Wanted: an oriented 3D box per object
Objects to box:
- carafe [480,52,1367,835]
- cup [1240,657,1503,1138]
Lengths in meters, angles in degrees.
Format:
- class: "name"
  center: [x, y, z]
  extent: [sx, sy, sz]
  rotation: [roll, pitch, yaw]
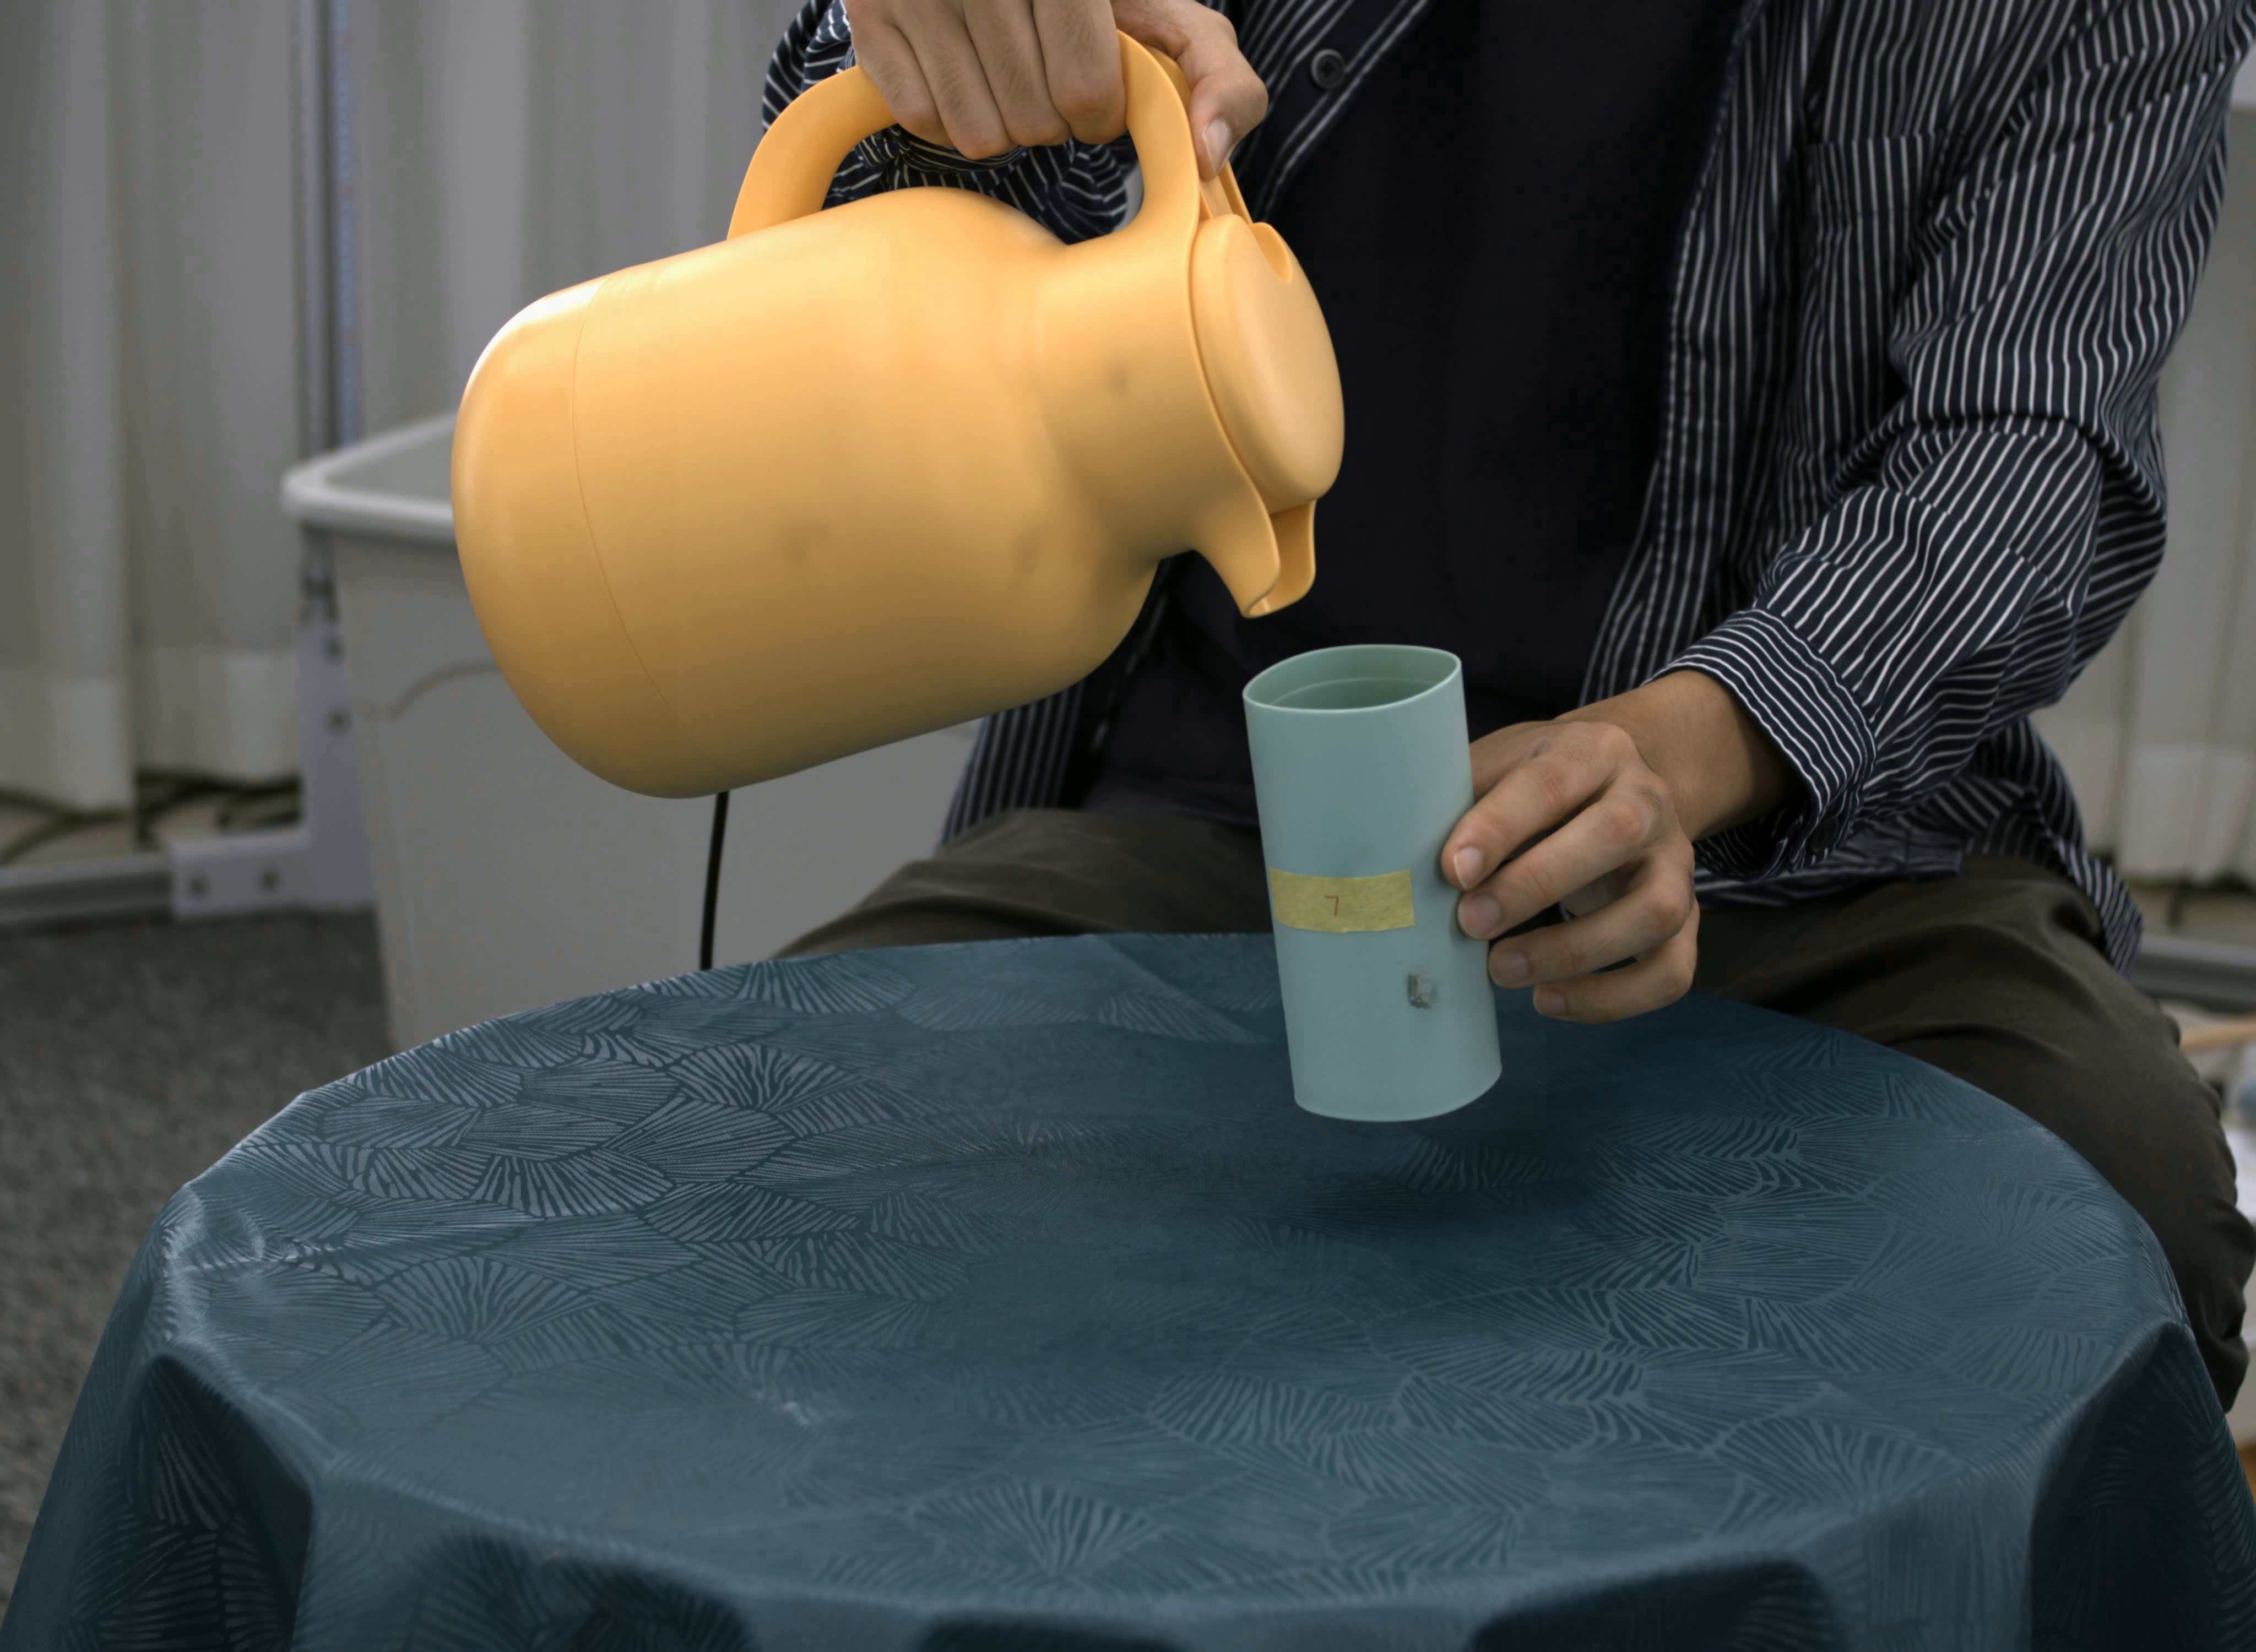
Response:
- class: "carafe"
  center: [-0.061, -0.118, 1.602]
  extent: [0.258, 0.202, 0.164]
  rotation: [-14, -6, 21]
- class: "cup"
  center: [0.075, 0.020, 1.581]
  extent: [0.066, 0.133, 0.066]
  rotation: [-7, 19, 3]
